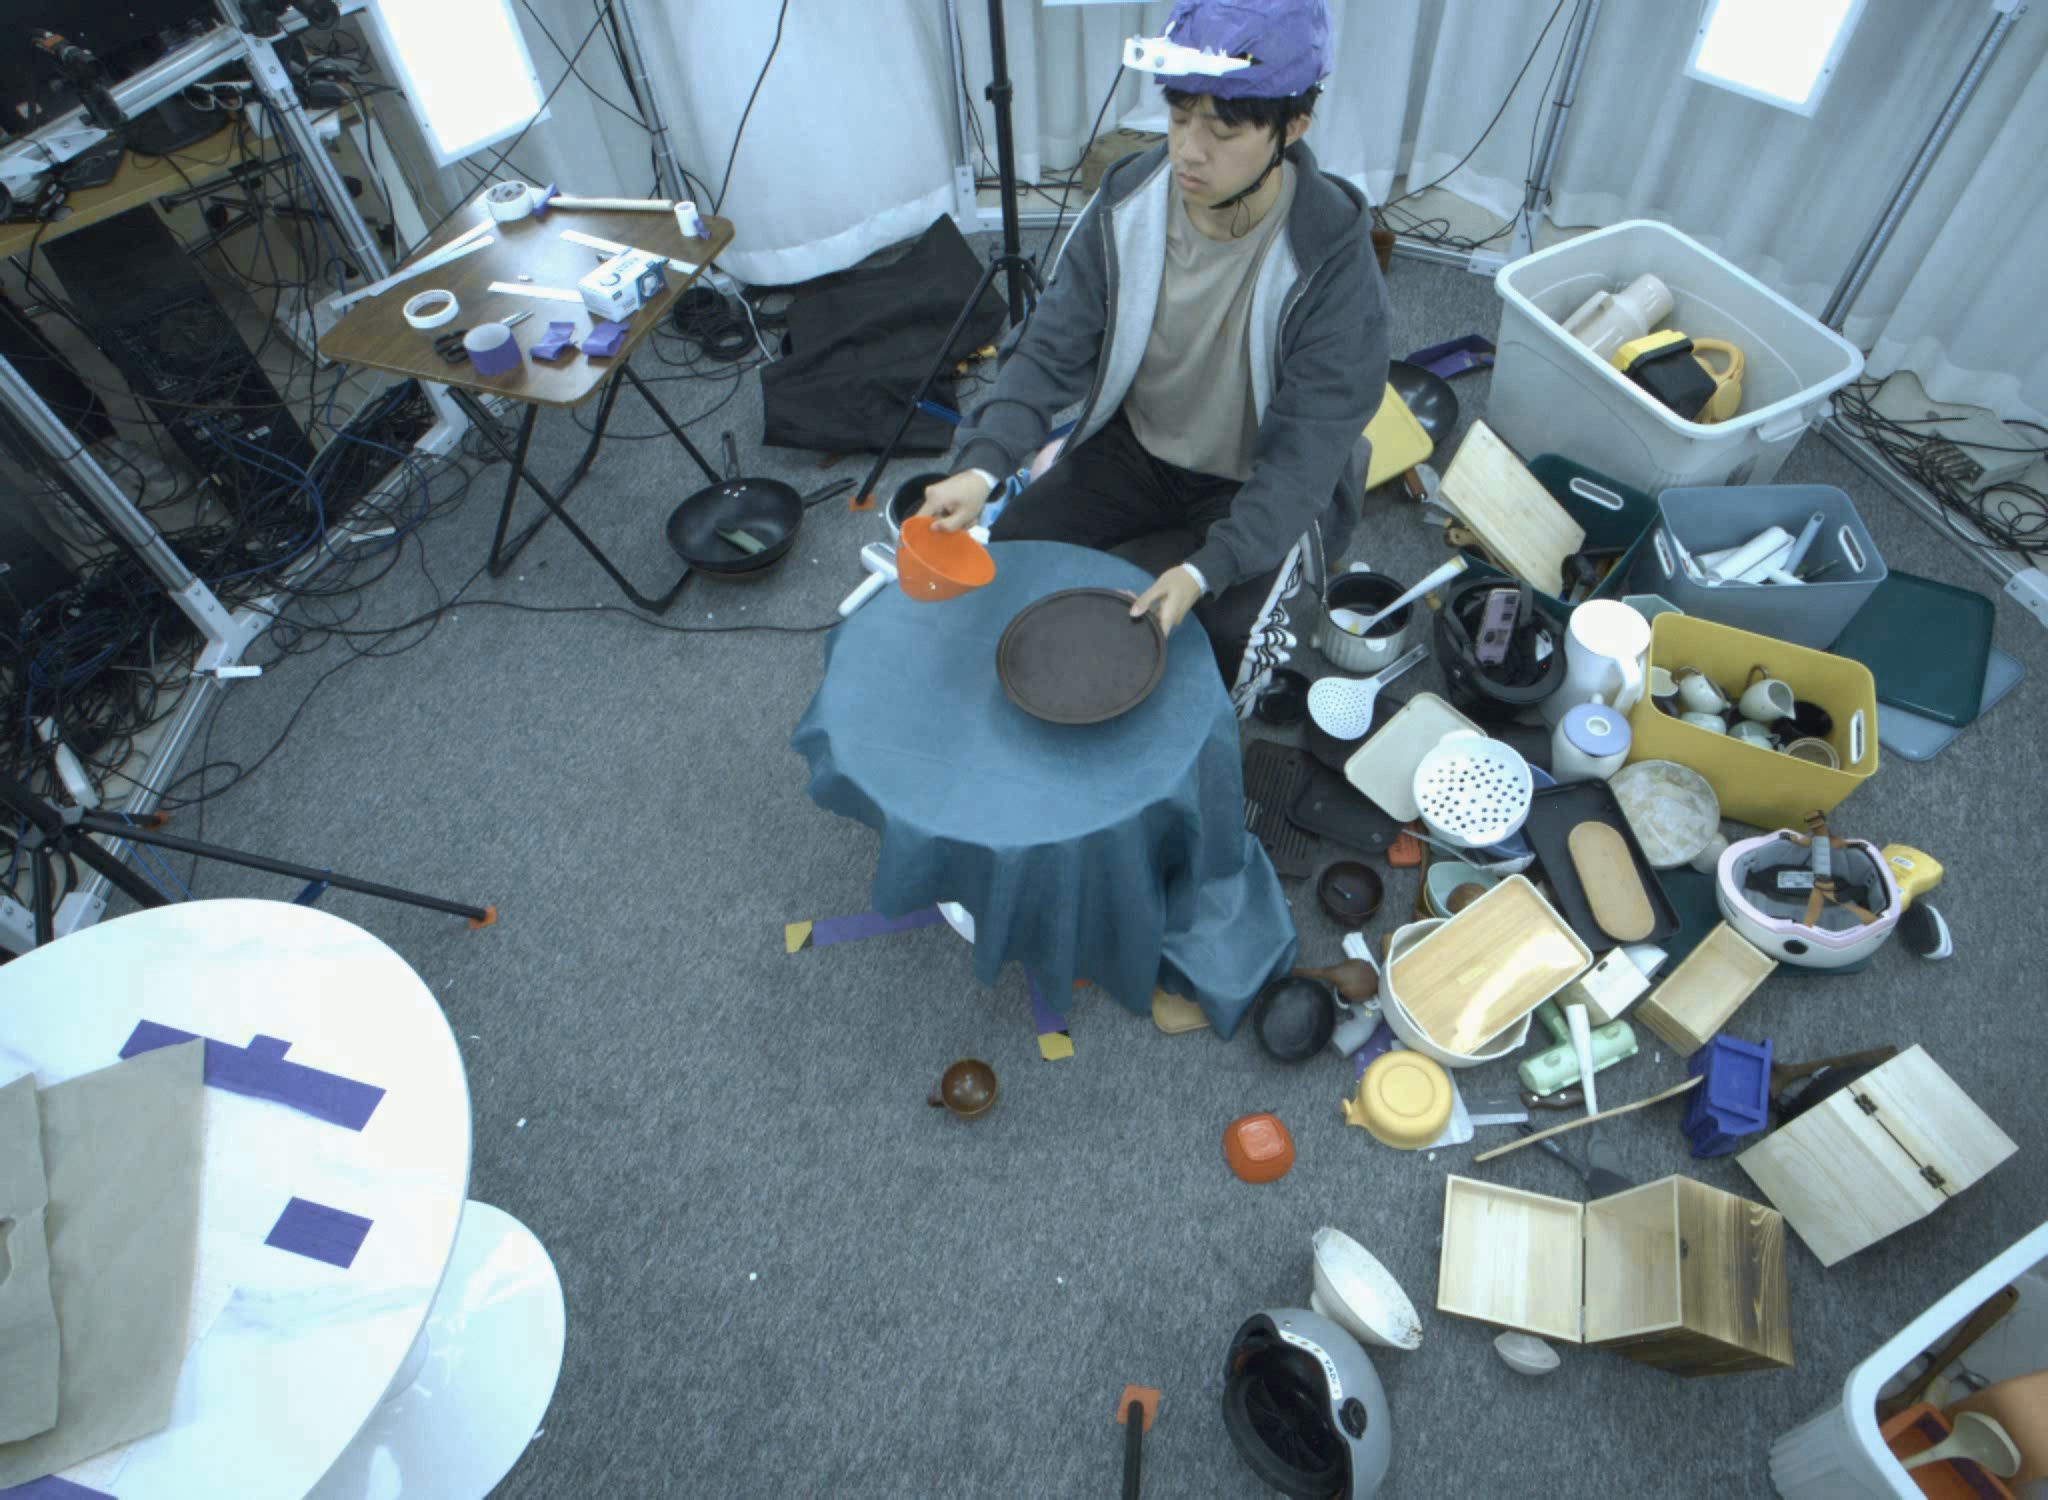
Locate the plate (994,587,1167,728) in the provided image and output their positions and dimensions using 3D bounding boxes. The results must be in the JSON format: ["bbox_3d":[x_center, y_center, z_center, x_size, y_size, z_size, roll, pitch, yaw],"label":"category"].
[{"bbox_3d":[0.083,-0.136,1.805,0.254,0.029,0.252,-3,57,6],"label":"plate"}]

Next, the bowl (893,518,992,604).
[{"bbox_3d":[-0.132,-0.258,1.757,0.150,0.104,0.146,21,47,-23],"label":"bowl"}]
